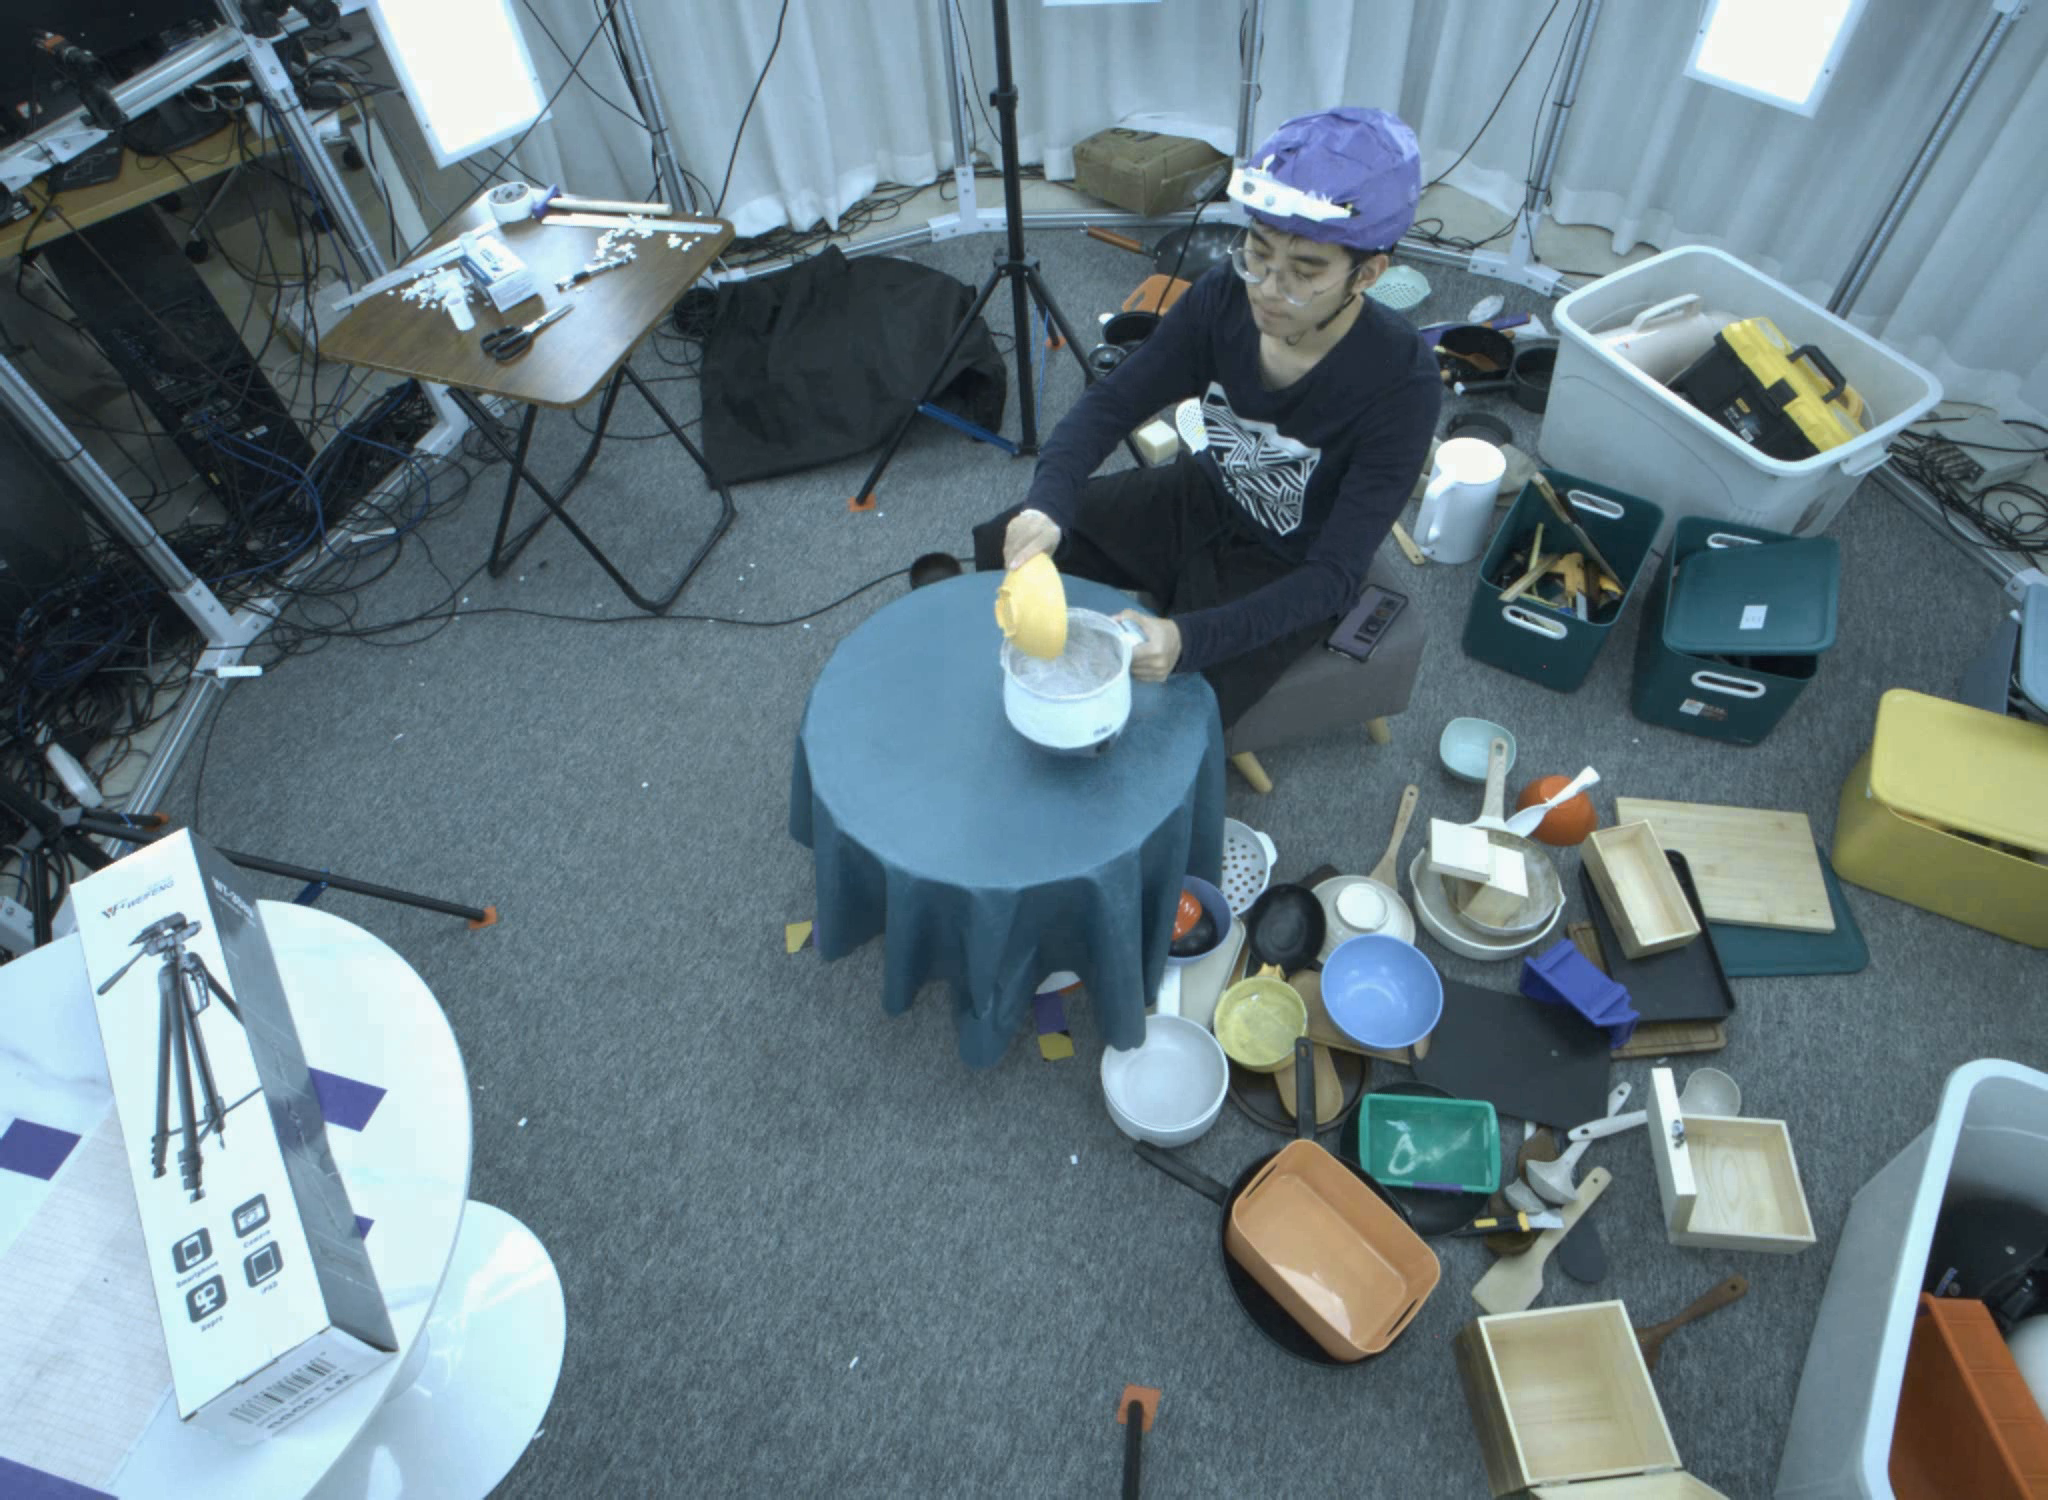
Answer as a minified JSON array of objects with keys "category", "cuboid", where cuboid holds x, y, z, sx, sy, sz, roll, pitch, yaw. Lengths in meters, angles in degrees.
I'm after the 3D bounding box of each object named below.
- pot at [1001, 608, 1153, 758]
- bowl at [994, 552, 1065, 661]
[{"category":"pot","cuboid":[0.081,-0.102,1.726,0.236,0.138,0.175,-29,57,-21]},{"category":"bowl","cuboid":[-0.001,-0.185,1.611,0.061,0.146,0.143,-10,54,-20]}]
